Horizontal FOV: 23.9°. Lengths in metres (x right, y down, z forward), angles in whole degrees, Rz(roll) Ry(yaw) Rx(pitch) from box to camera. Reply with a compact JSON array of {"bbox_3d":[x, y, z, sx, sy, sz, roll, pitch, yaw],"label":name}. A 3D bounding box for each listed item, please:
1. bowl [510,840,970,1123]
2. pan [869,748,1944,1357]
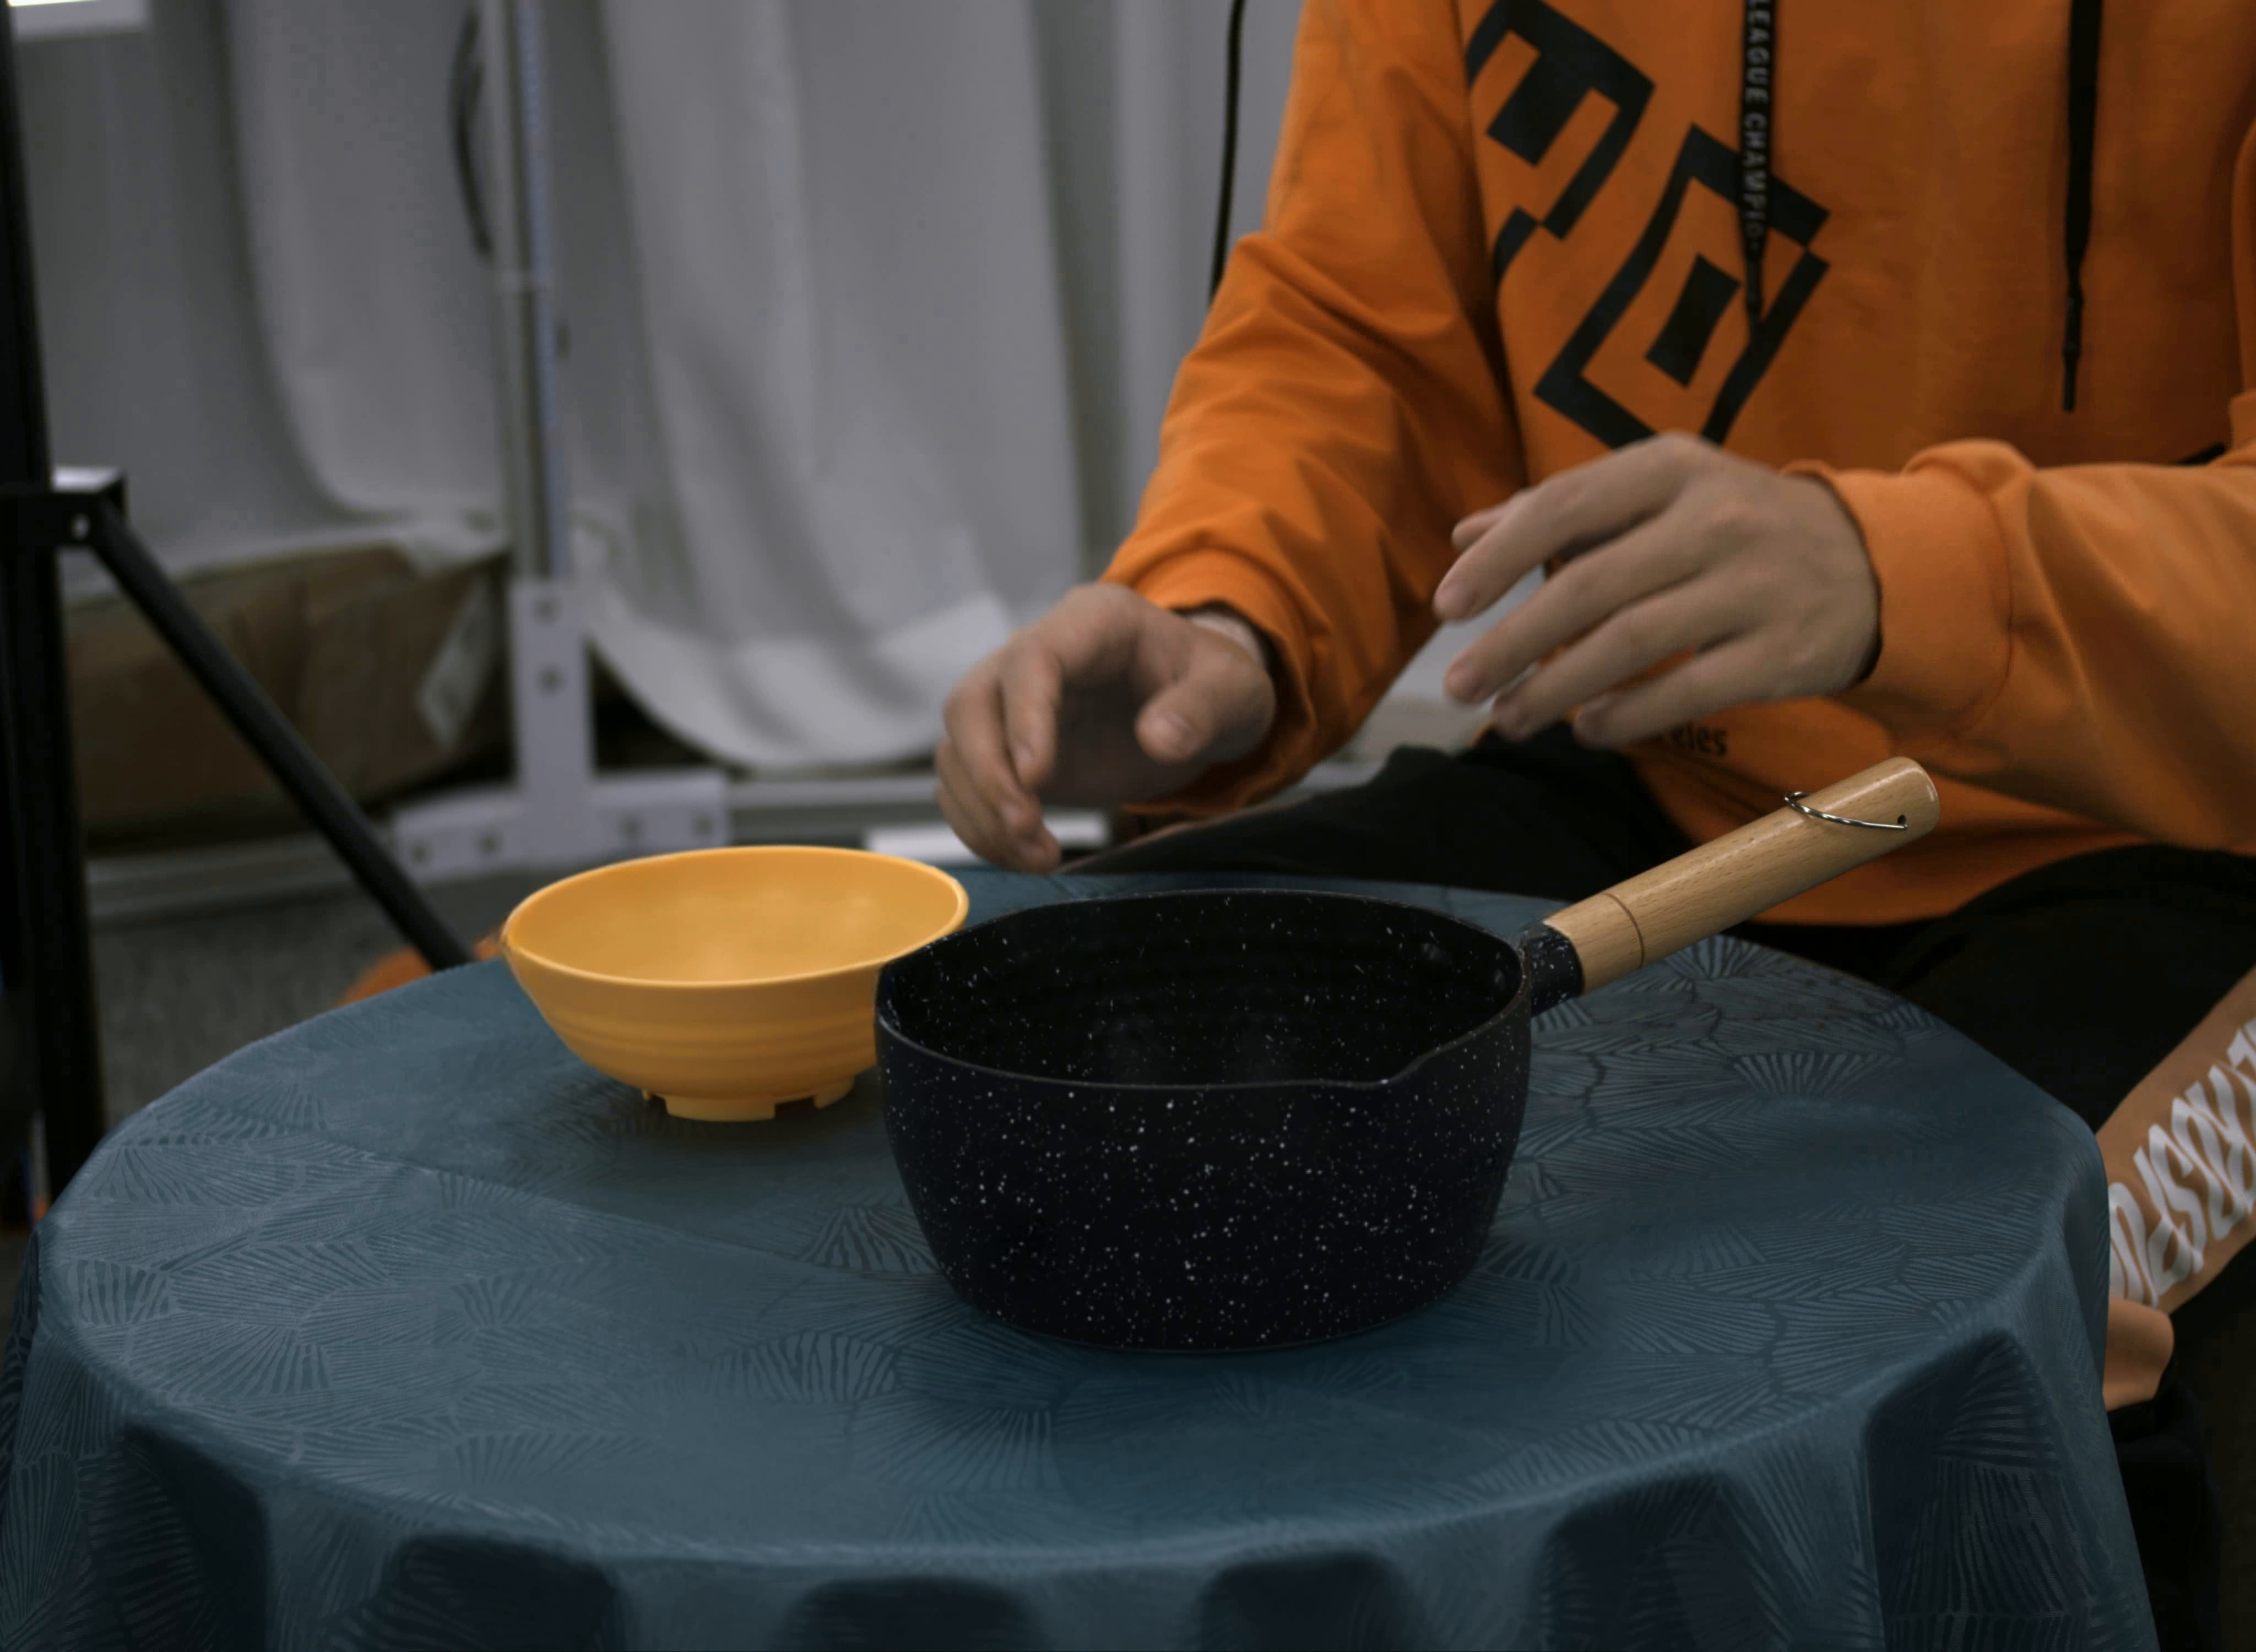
[{"bbox_3d":[-0.120,0.054,1.663,0.144,0.060,0.146,-2,17,-1],"label":"bowl"},{"bbox_3d":[0.090,0.059,1.517,0.336,0.108,0.212,-12,17,-26],"label":"pan"}]
